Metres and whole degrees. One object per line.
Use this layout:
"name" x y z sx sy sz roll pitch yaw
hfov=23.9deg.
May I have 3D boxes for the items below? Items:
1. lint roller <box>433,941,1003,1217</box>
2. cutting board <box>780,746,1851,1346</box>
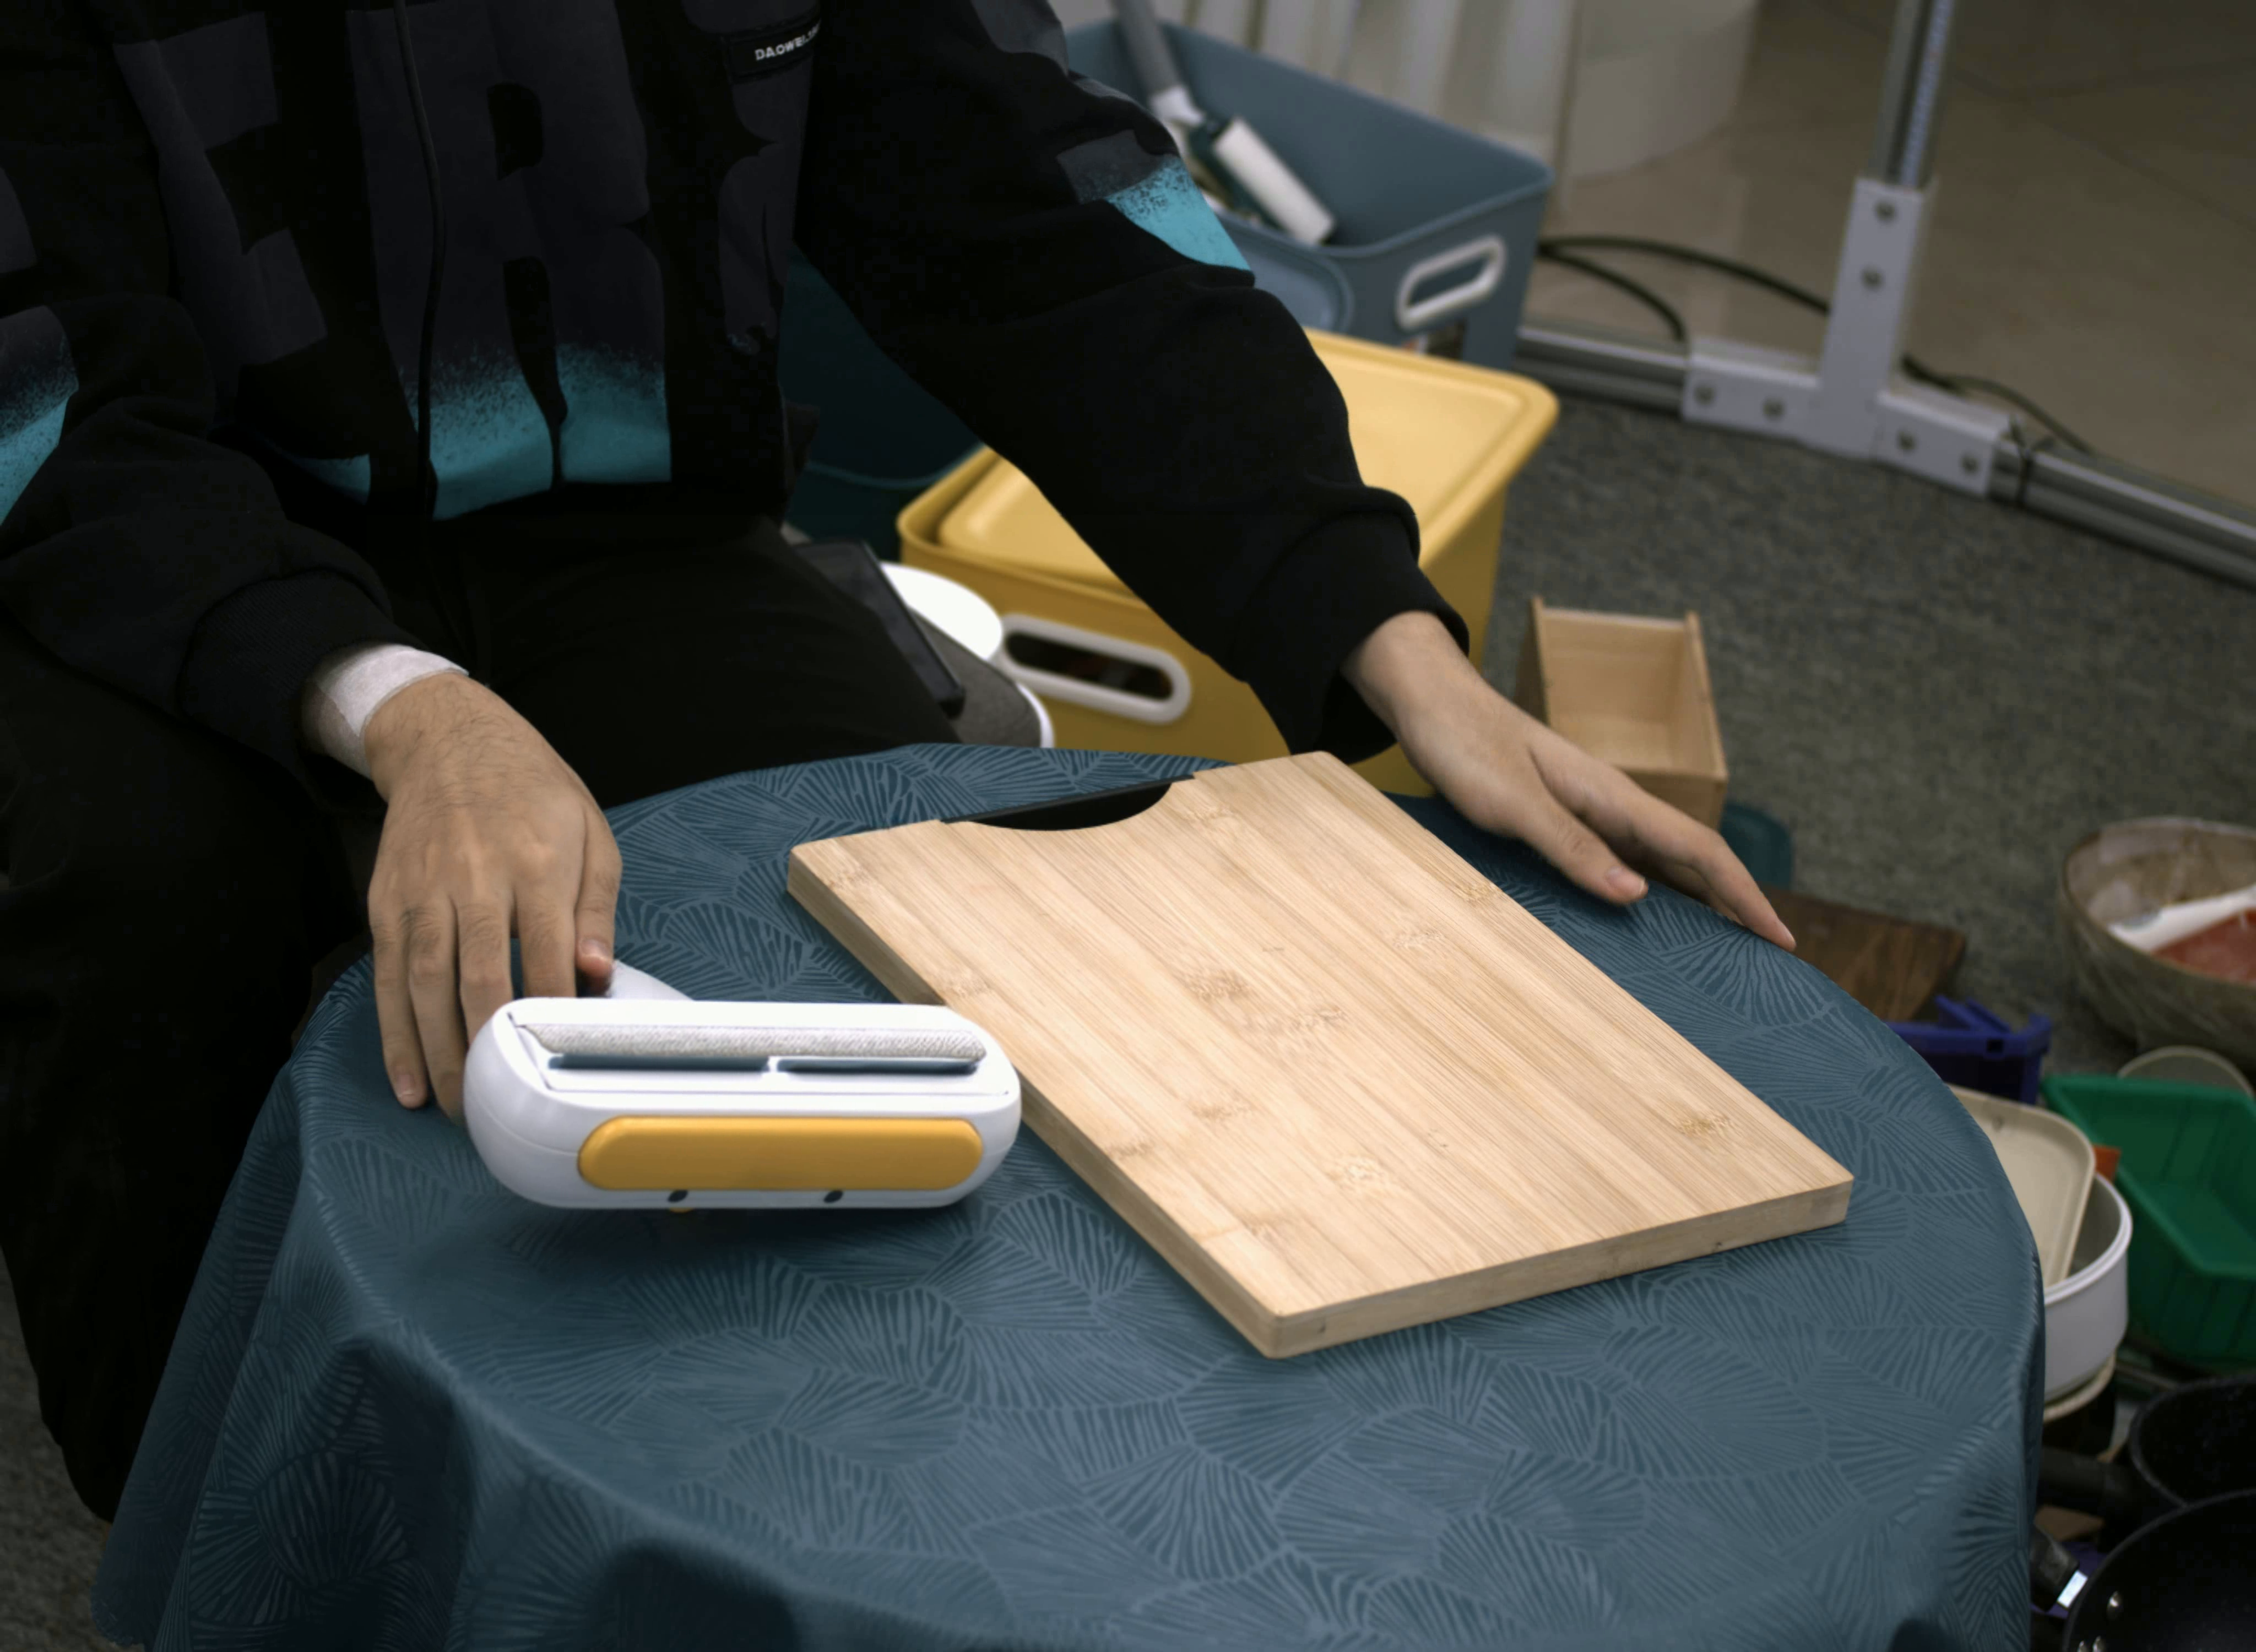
"lint roller" -0.156 0.073 1.790 0.191 0.074 0.194 0 25 -25
"cutting board" 0.059 0.071 1.899 0.249 0.023 0.352 -10 31 -30
